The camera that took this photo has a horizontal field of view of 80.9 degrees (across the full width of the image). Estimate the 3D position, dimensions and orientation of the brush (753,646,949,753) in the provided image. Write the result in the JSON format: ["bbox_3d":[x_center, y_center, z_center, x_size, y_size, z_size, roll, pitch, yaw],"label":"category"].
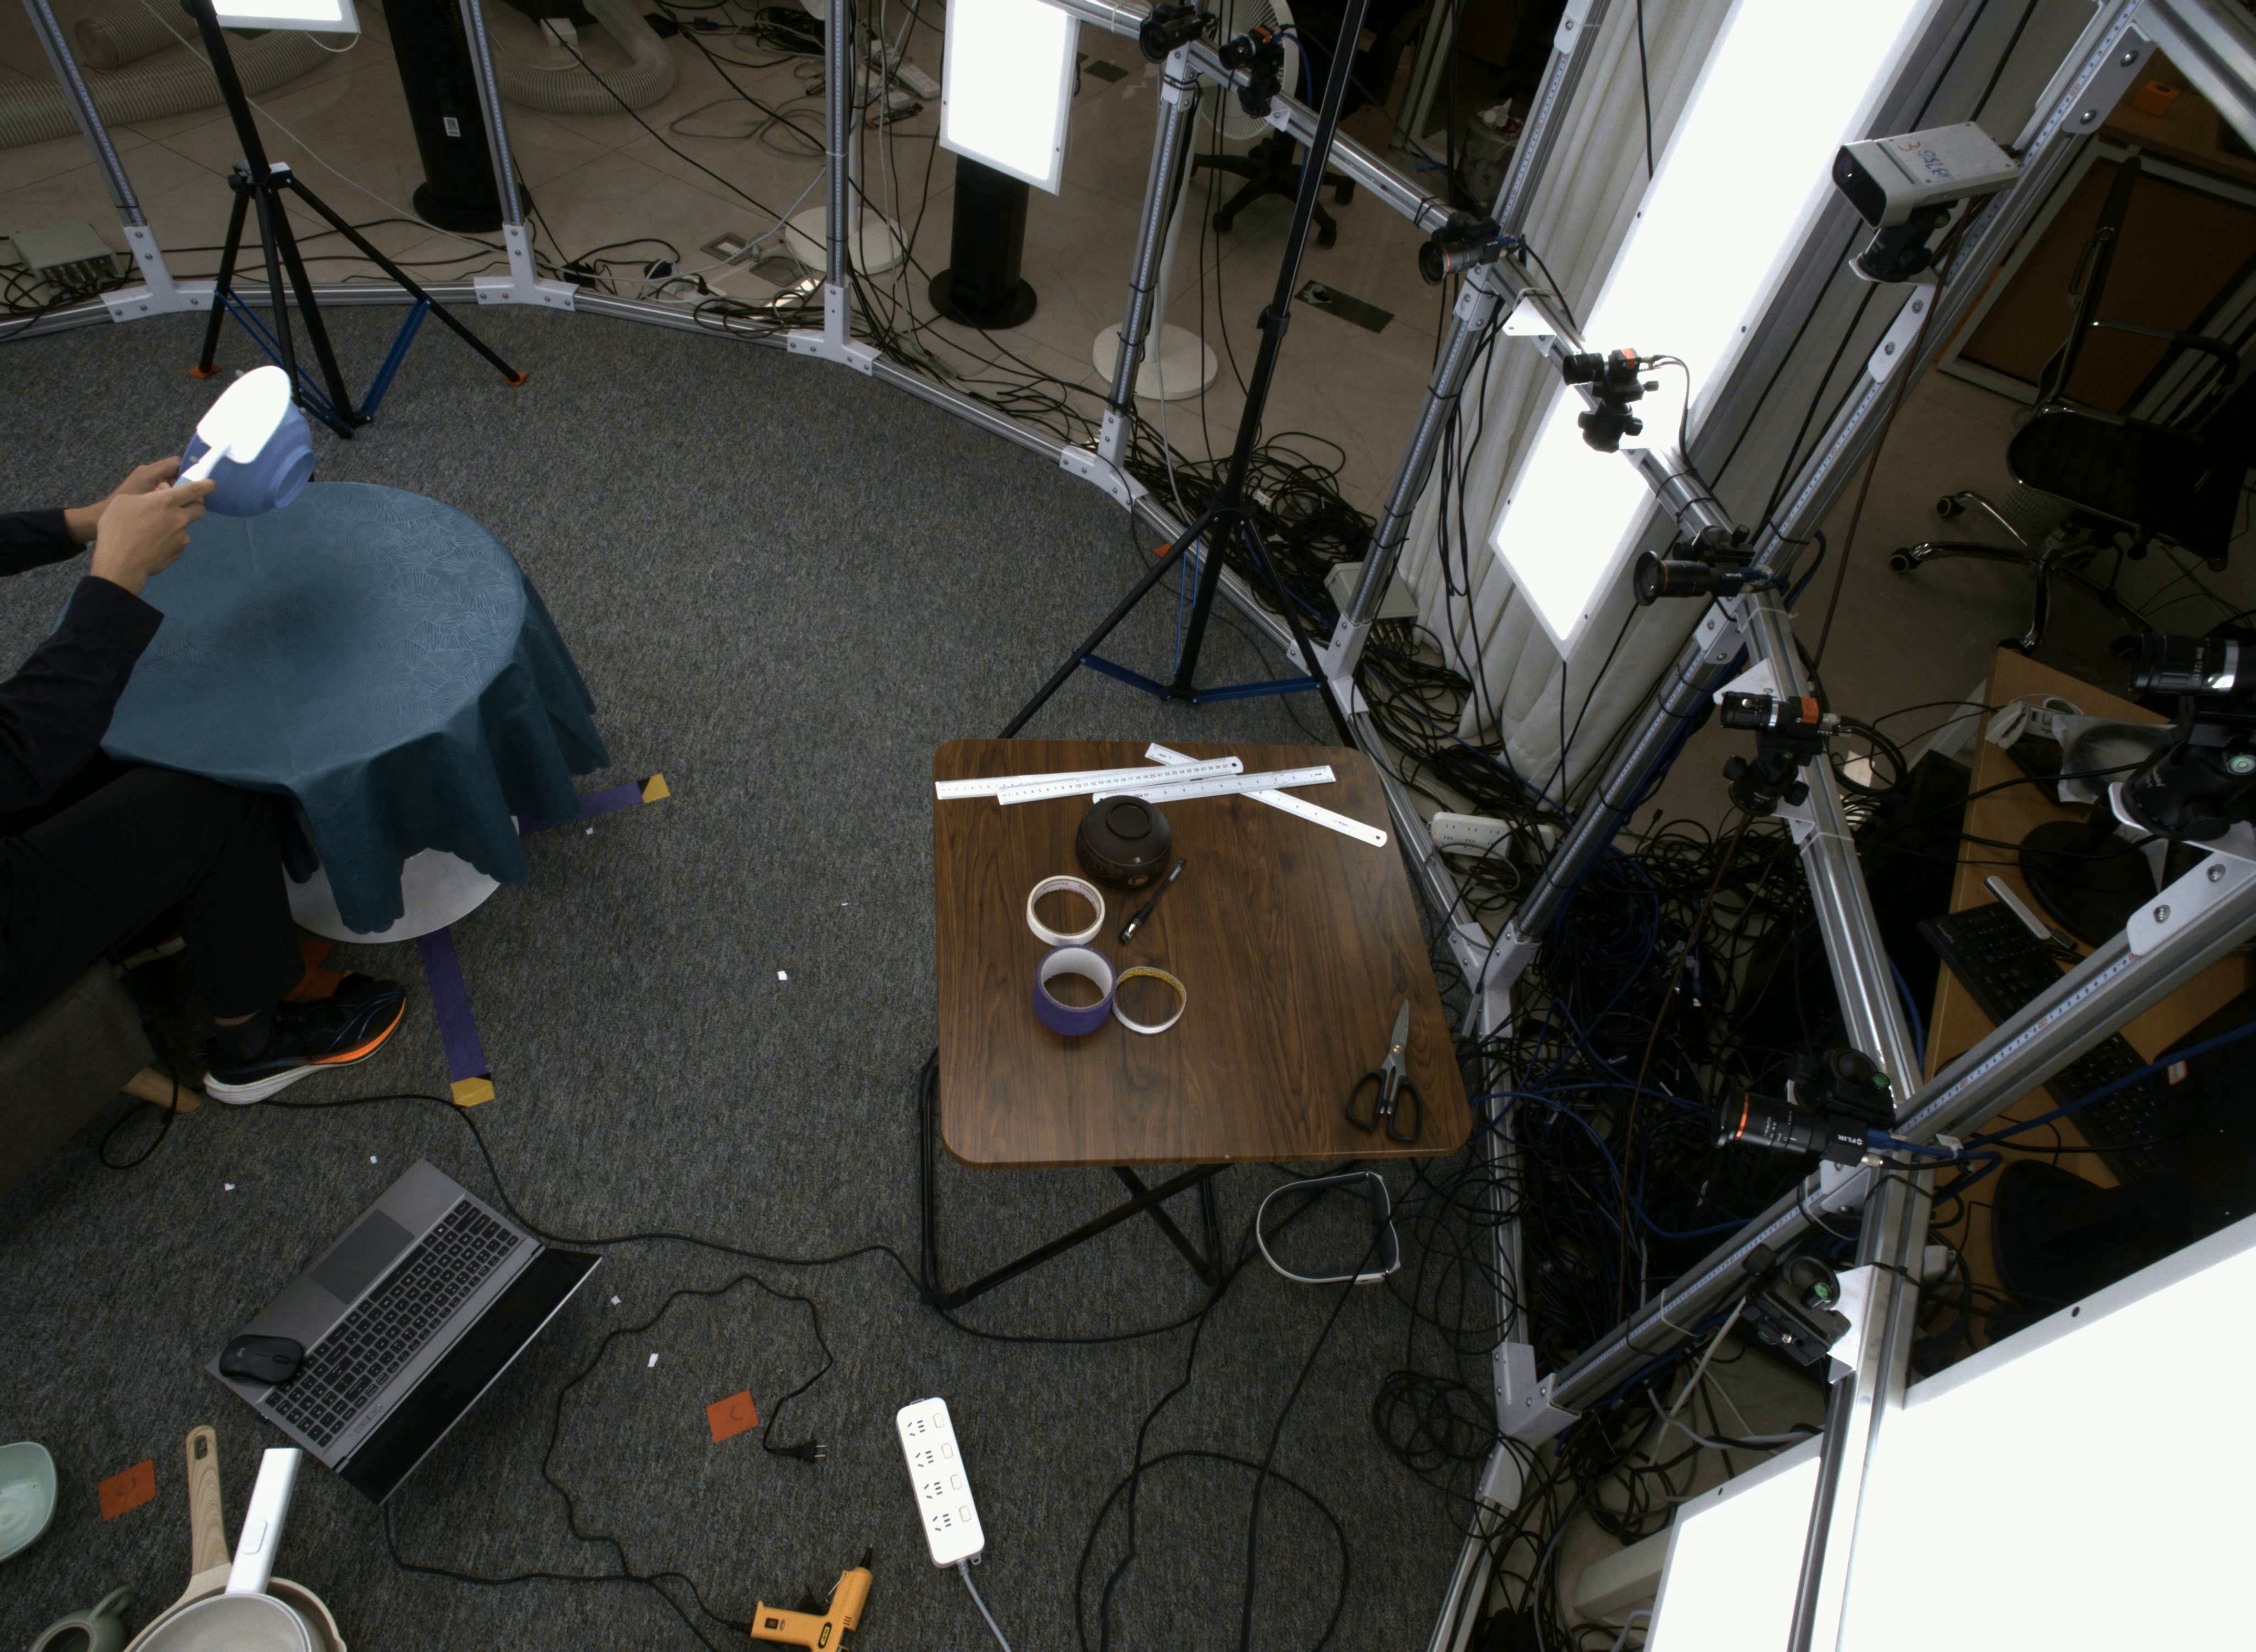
[{"bbox_3d":[-0.405,-0.178,1.902,0.326,0.087,0.080,-31,44,-25],"label":"brush"}]

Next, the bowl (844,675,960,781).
[{"bbox_3d":[-0.337,-0.143,2.032,0.199,0.199,0.093,-19,57,-44],"label":"bowl"}]
